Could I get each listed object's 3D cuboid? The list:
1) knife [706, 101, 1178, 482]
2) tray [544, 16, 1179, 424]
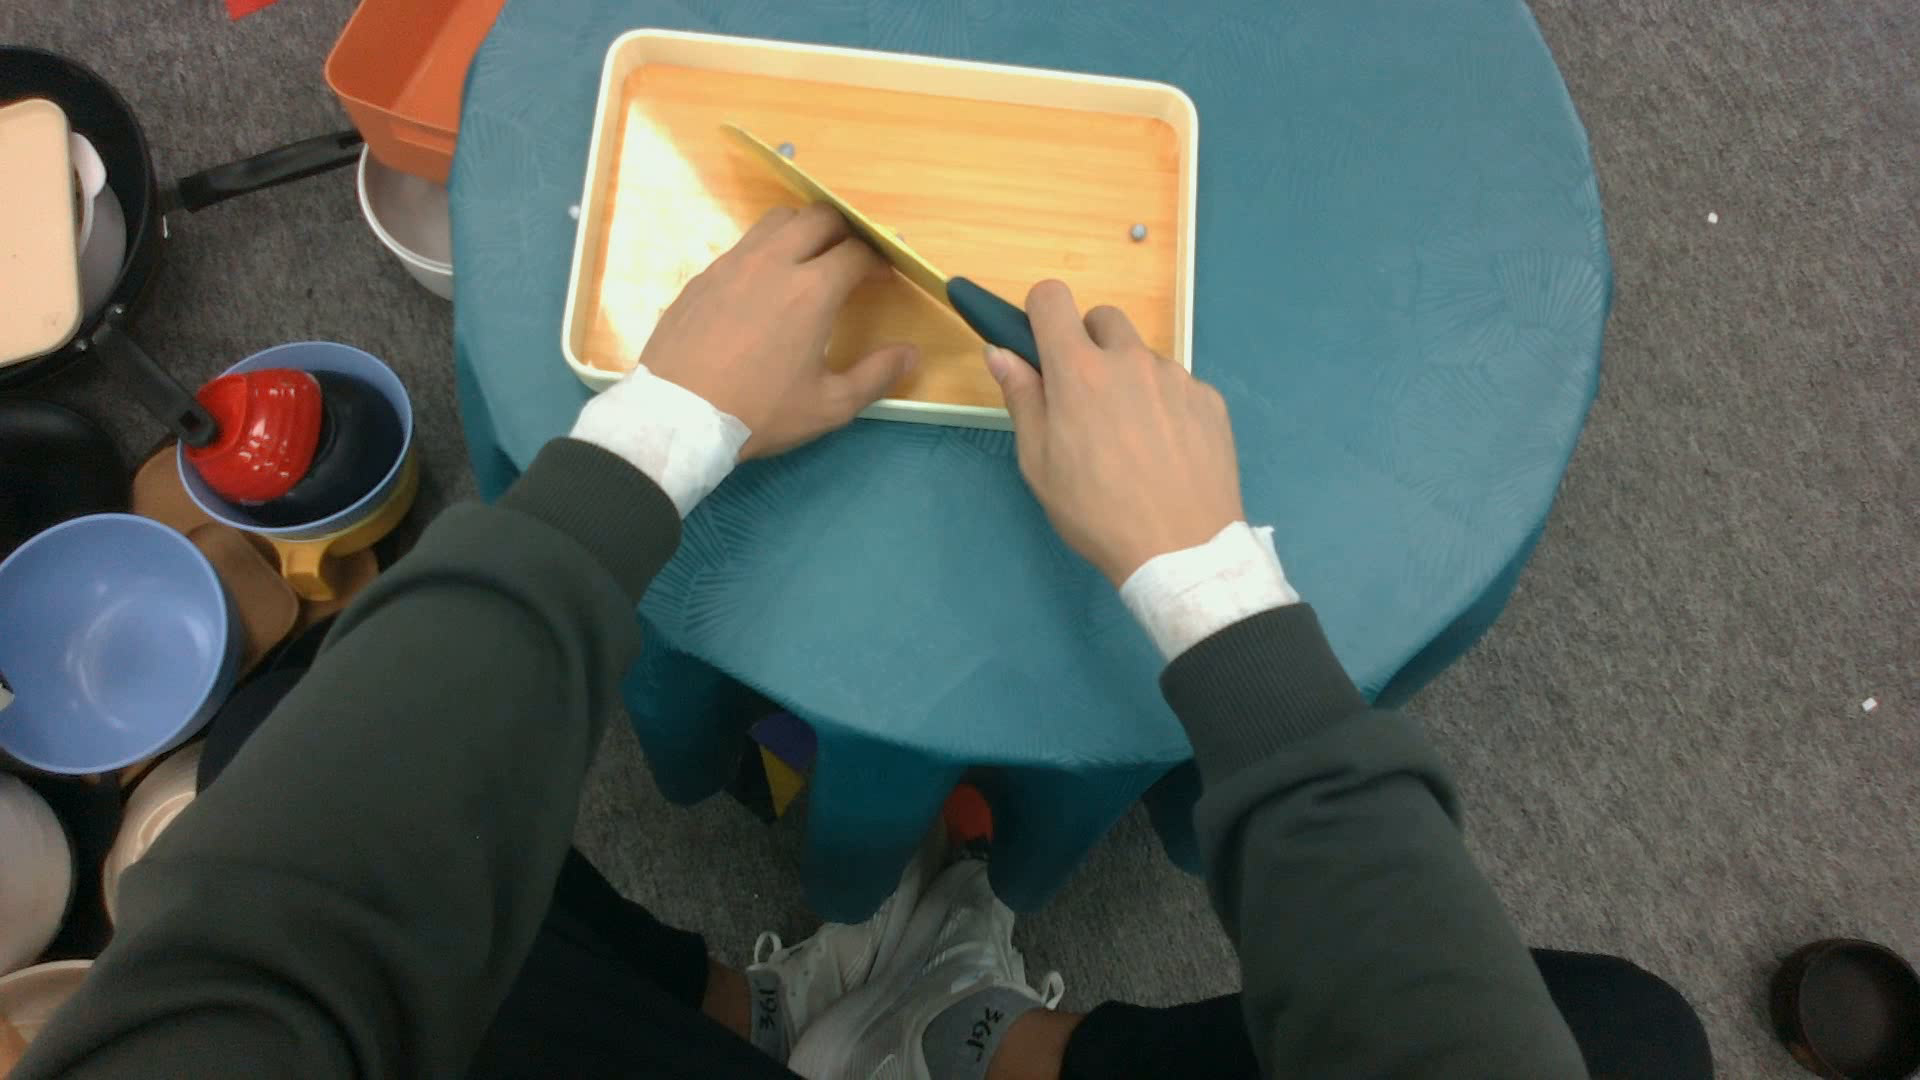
[{"bbox_3d":[-0.015,-0.121,0.642,0.289,0.081,0.027,40,93,12],"label":"knife"},{"bbox_3d":[-0.042,-0.159,0.685,0.300,0.027,0.192,5,75,-4],"label":"tray"}]
